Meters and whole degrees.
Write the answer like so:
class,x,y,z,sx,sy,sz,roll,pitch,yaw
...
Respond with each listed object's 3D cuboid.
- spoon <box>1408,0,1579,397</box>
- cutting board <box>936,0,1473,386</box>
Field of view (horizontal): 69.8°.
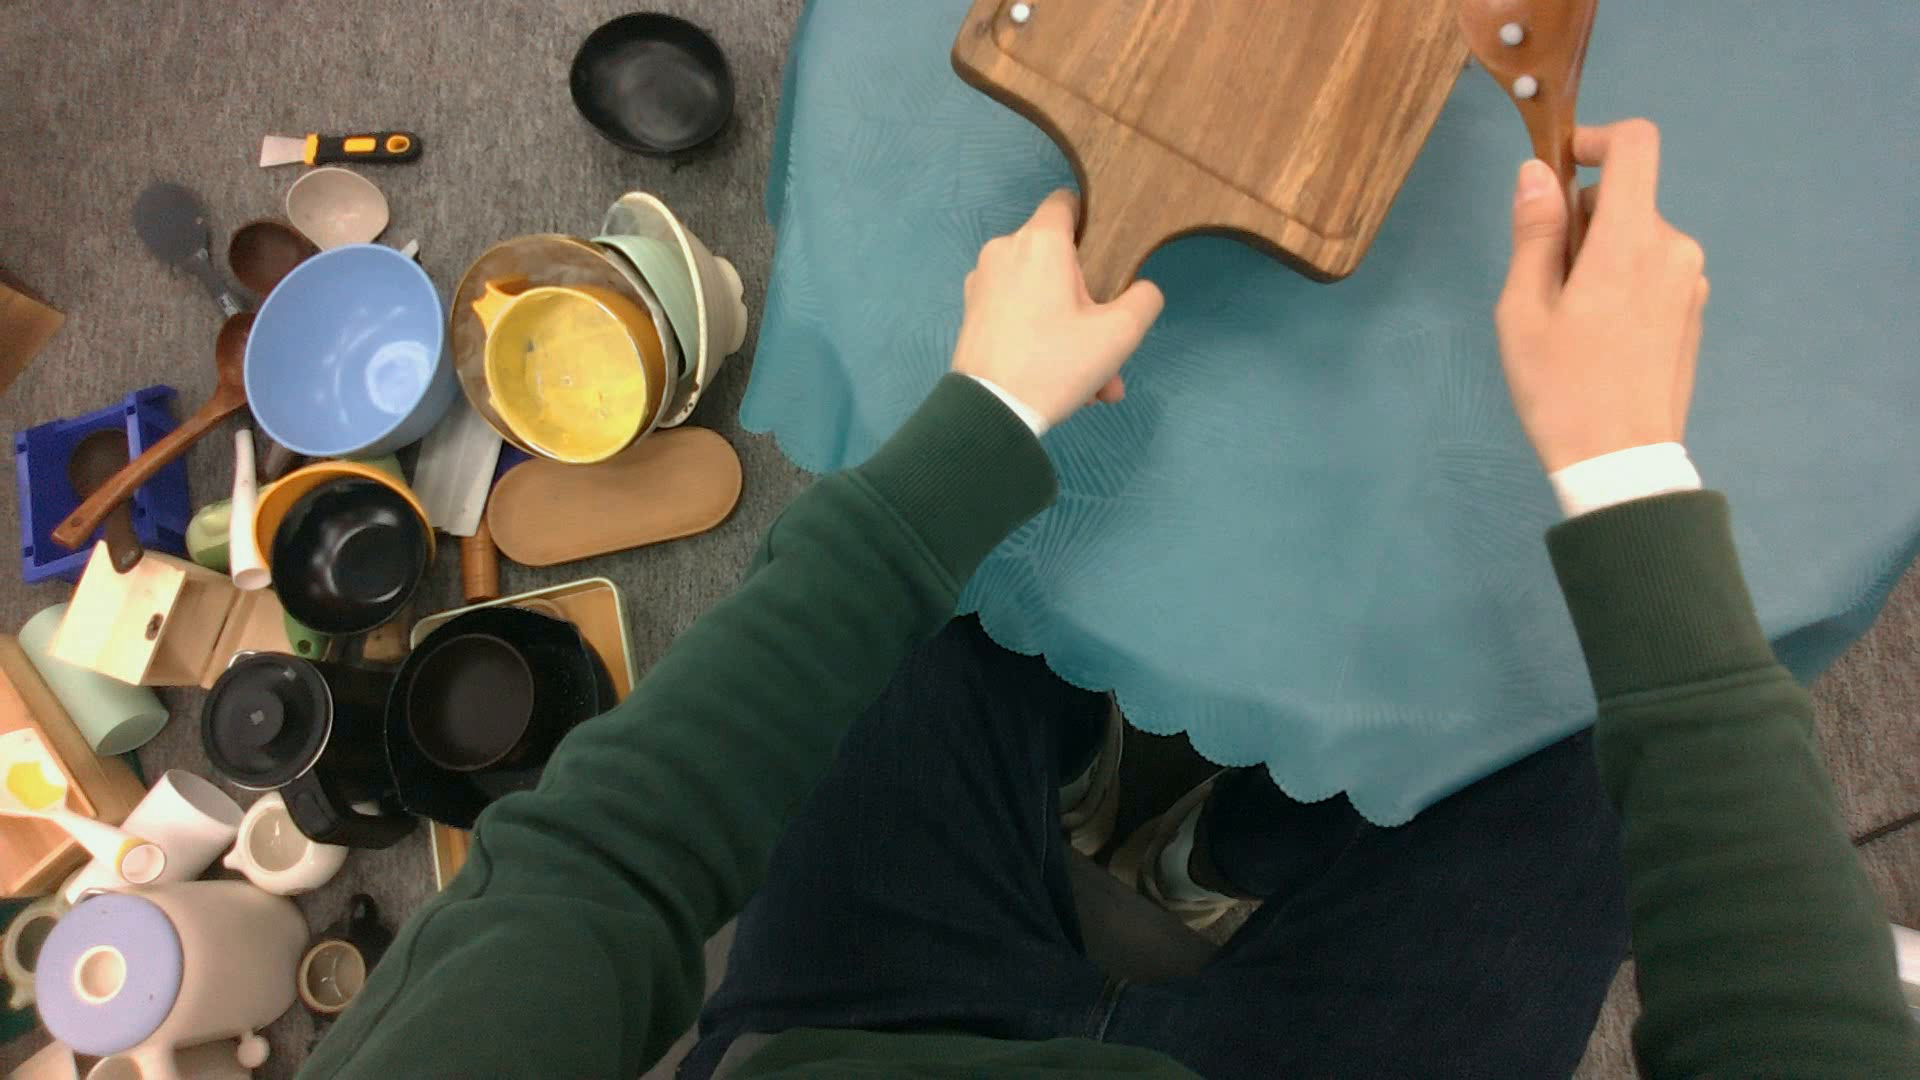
class,x,y,z,sx,sy,sz,roll,pitch,yaw
spoon,0.206,-0.160,0.512,0.017,0.075,0.216,-8,90,-27
cutting board,0.107,-0.226,0.587,0.201,0.023,0.352,27,88,-9
